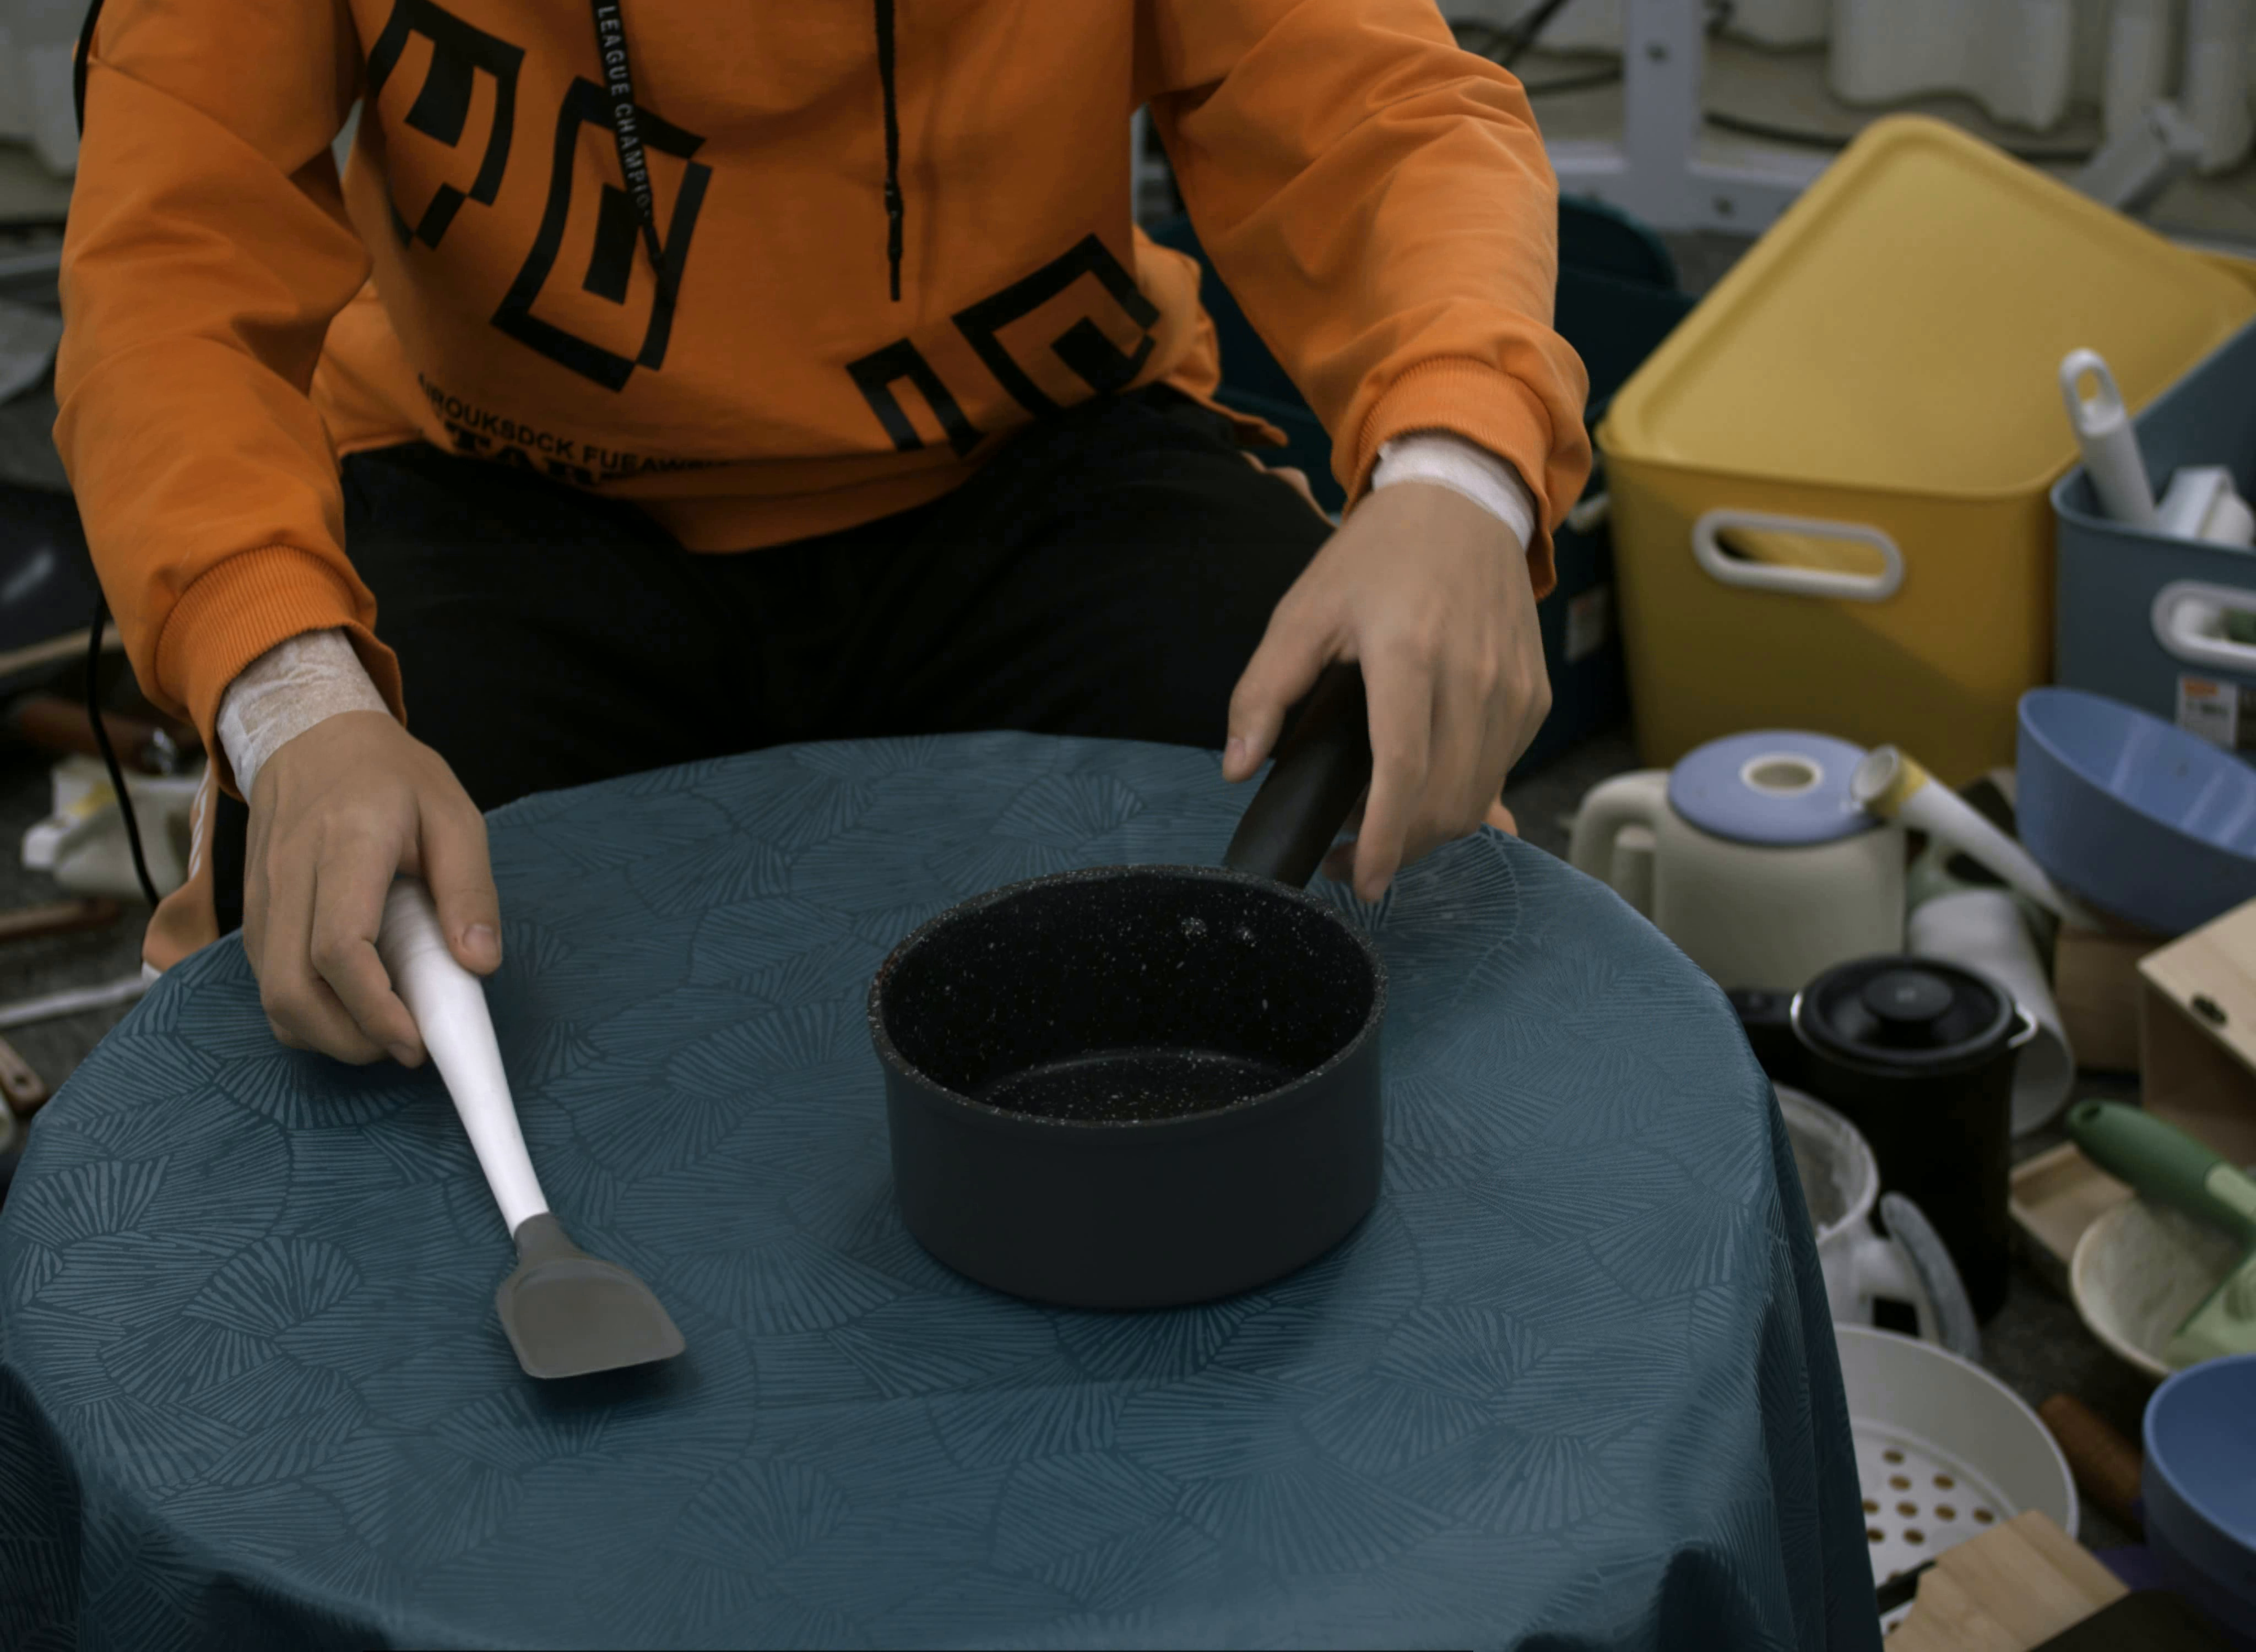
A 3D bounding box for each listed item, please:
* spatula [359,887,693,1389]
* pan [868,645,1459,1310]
[{"bbox_3d":[-0.207,0.107,1.868,0.059,0.032,0.291,-4,31,-20],"label":"spatula"},{"bbox_3d":[0.035,0.047,1.911,0.171,0.085,0.334,10,32,23],"label":"pan"}]
